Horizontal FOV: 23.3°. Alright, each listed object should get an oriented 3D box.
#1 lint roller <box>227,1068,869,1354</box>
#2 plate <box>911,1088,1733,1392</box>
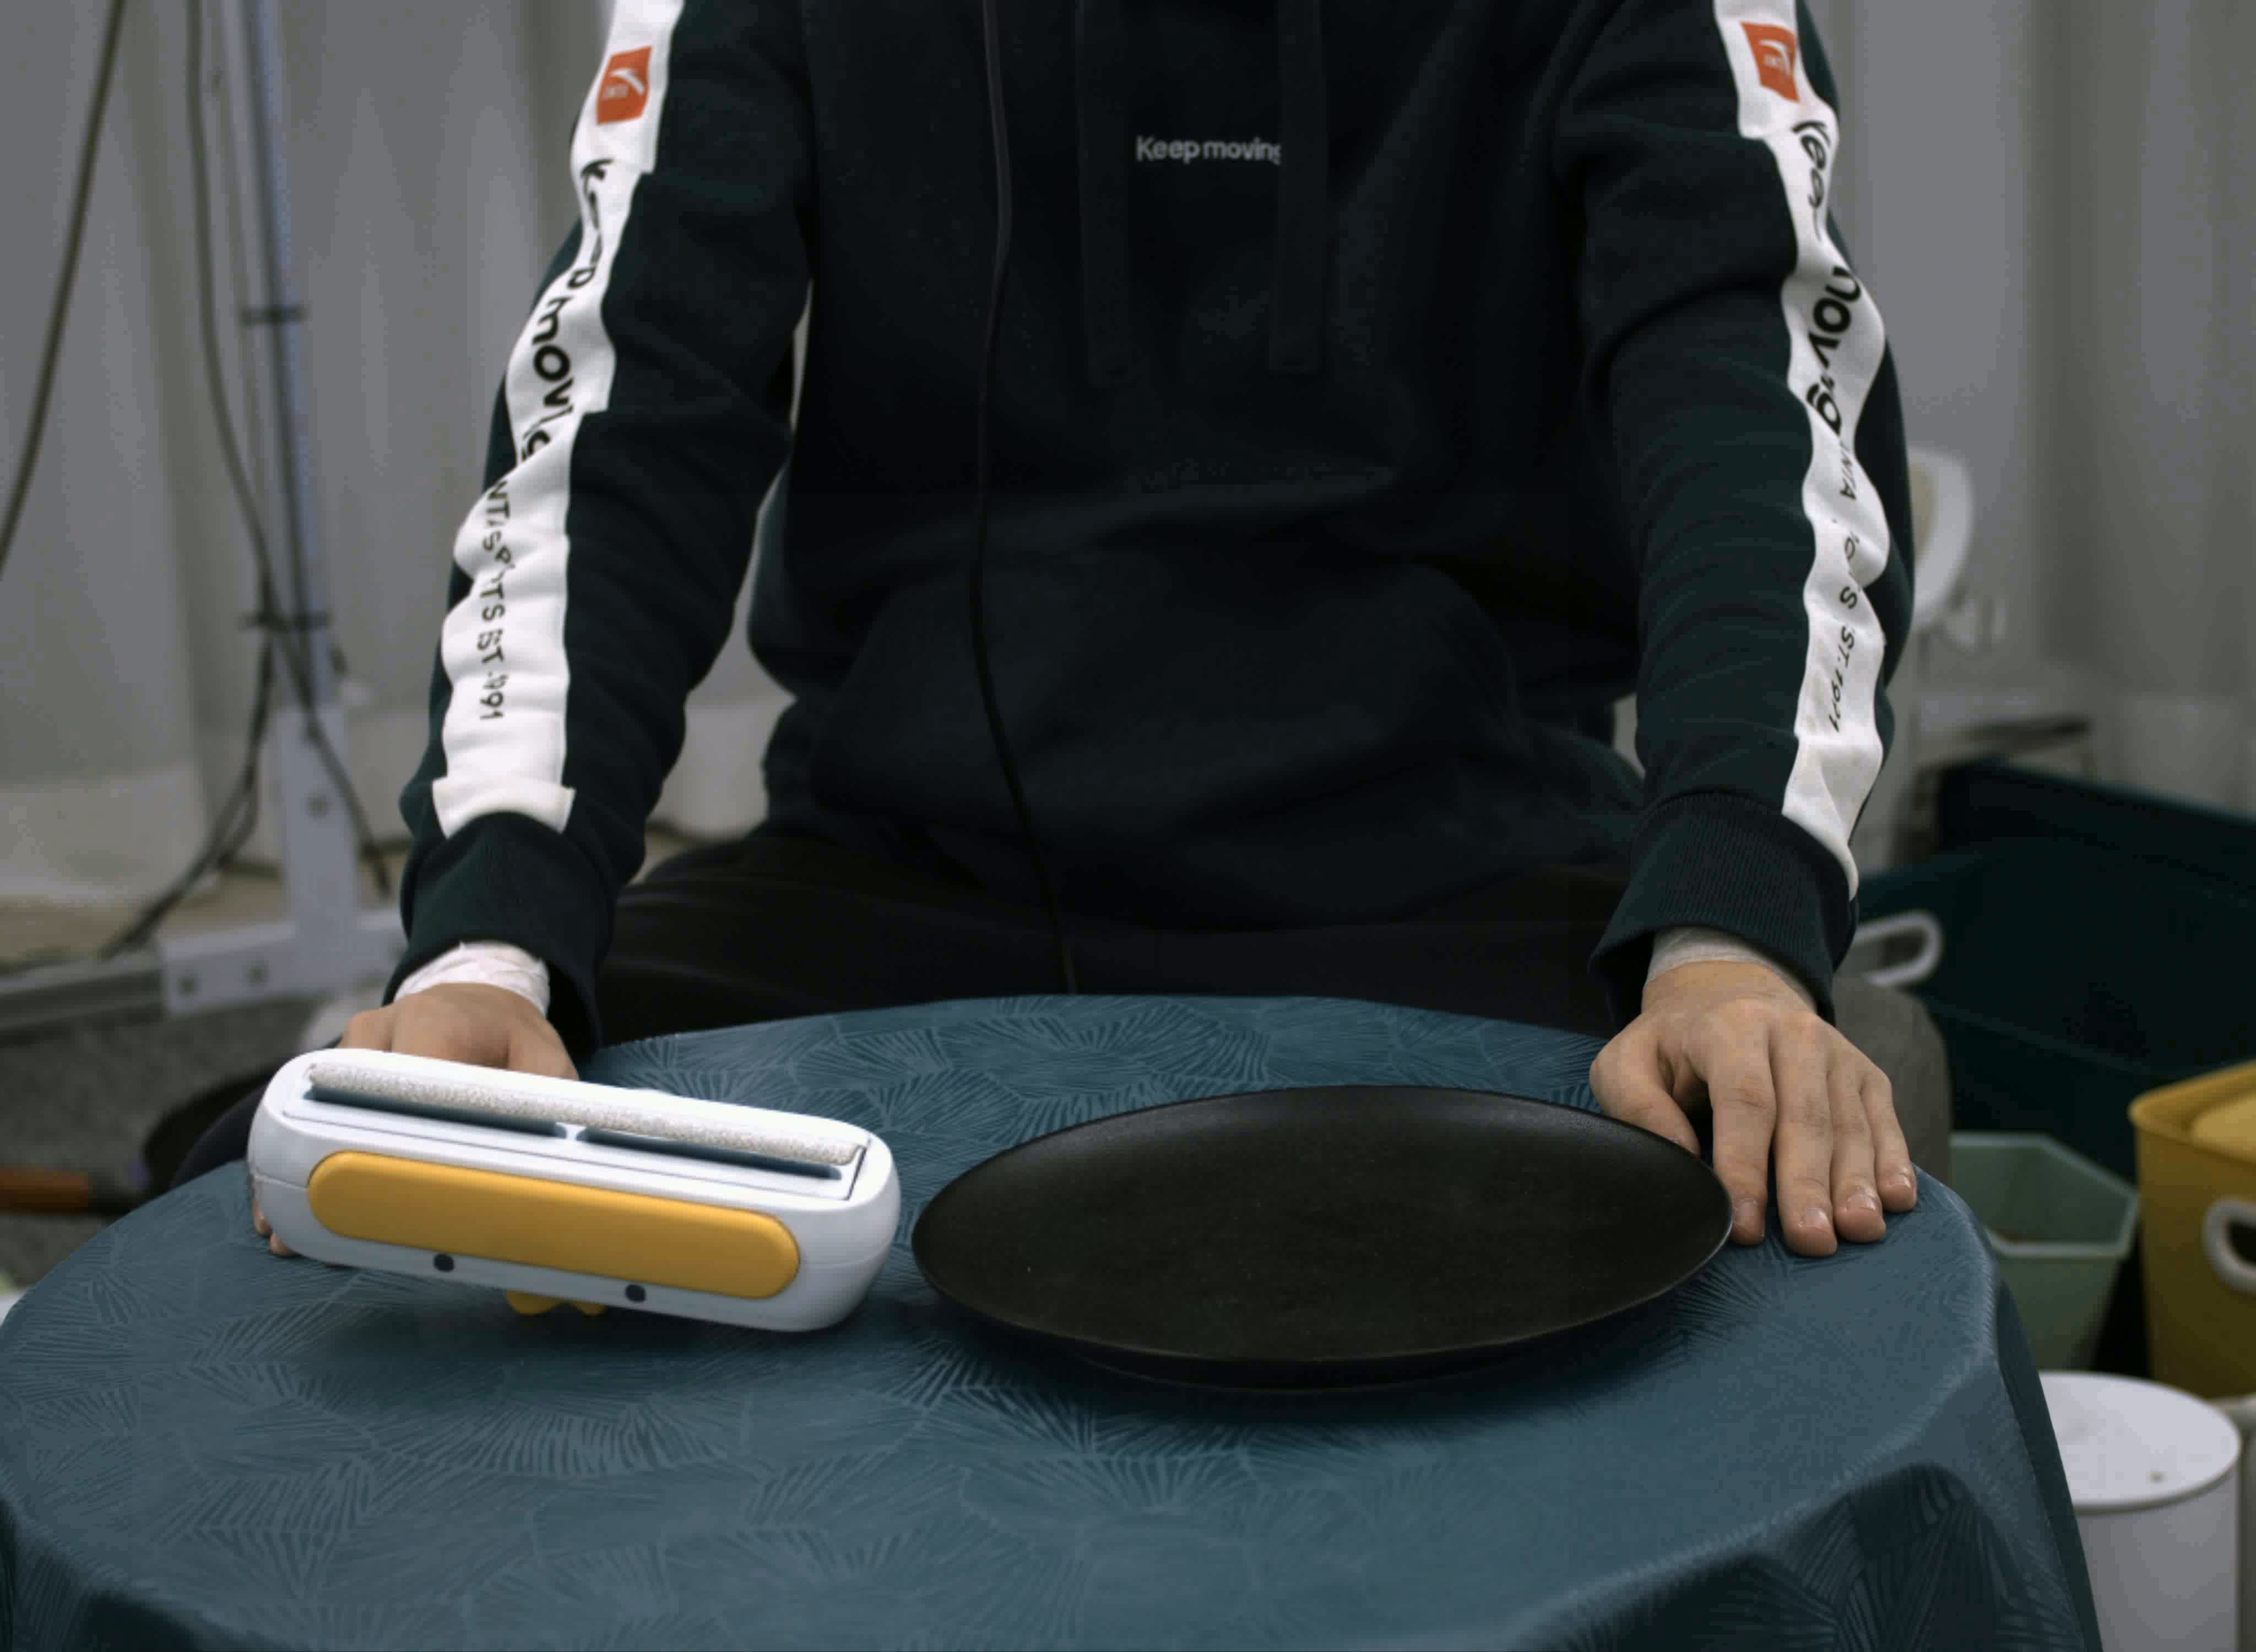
[{"bbox_3d":[-0.162,0.119,1.674,0.192,0.074,0.192,7,2,10],"label":"lint roller"},{"bbox_3d":[0.057,0.125,1.620,0.243,0.023,0.246,-3,15,1],"label":"plate"}]
